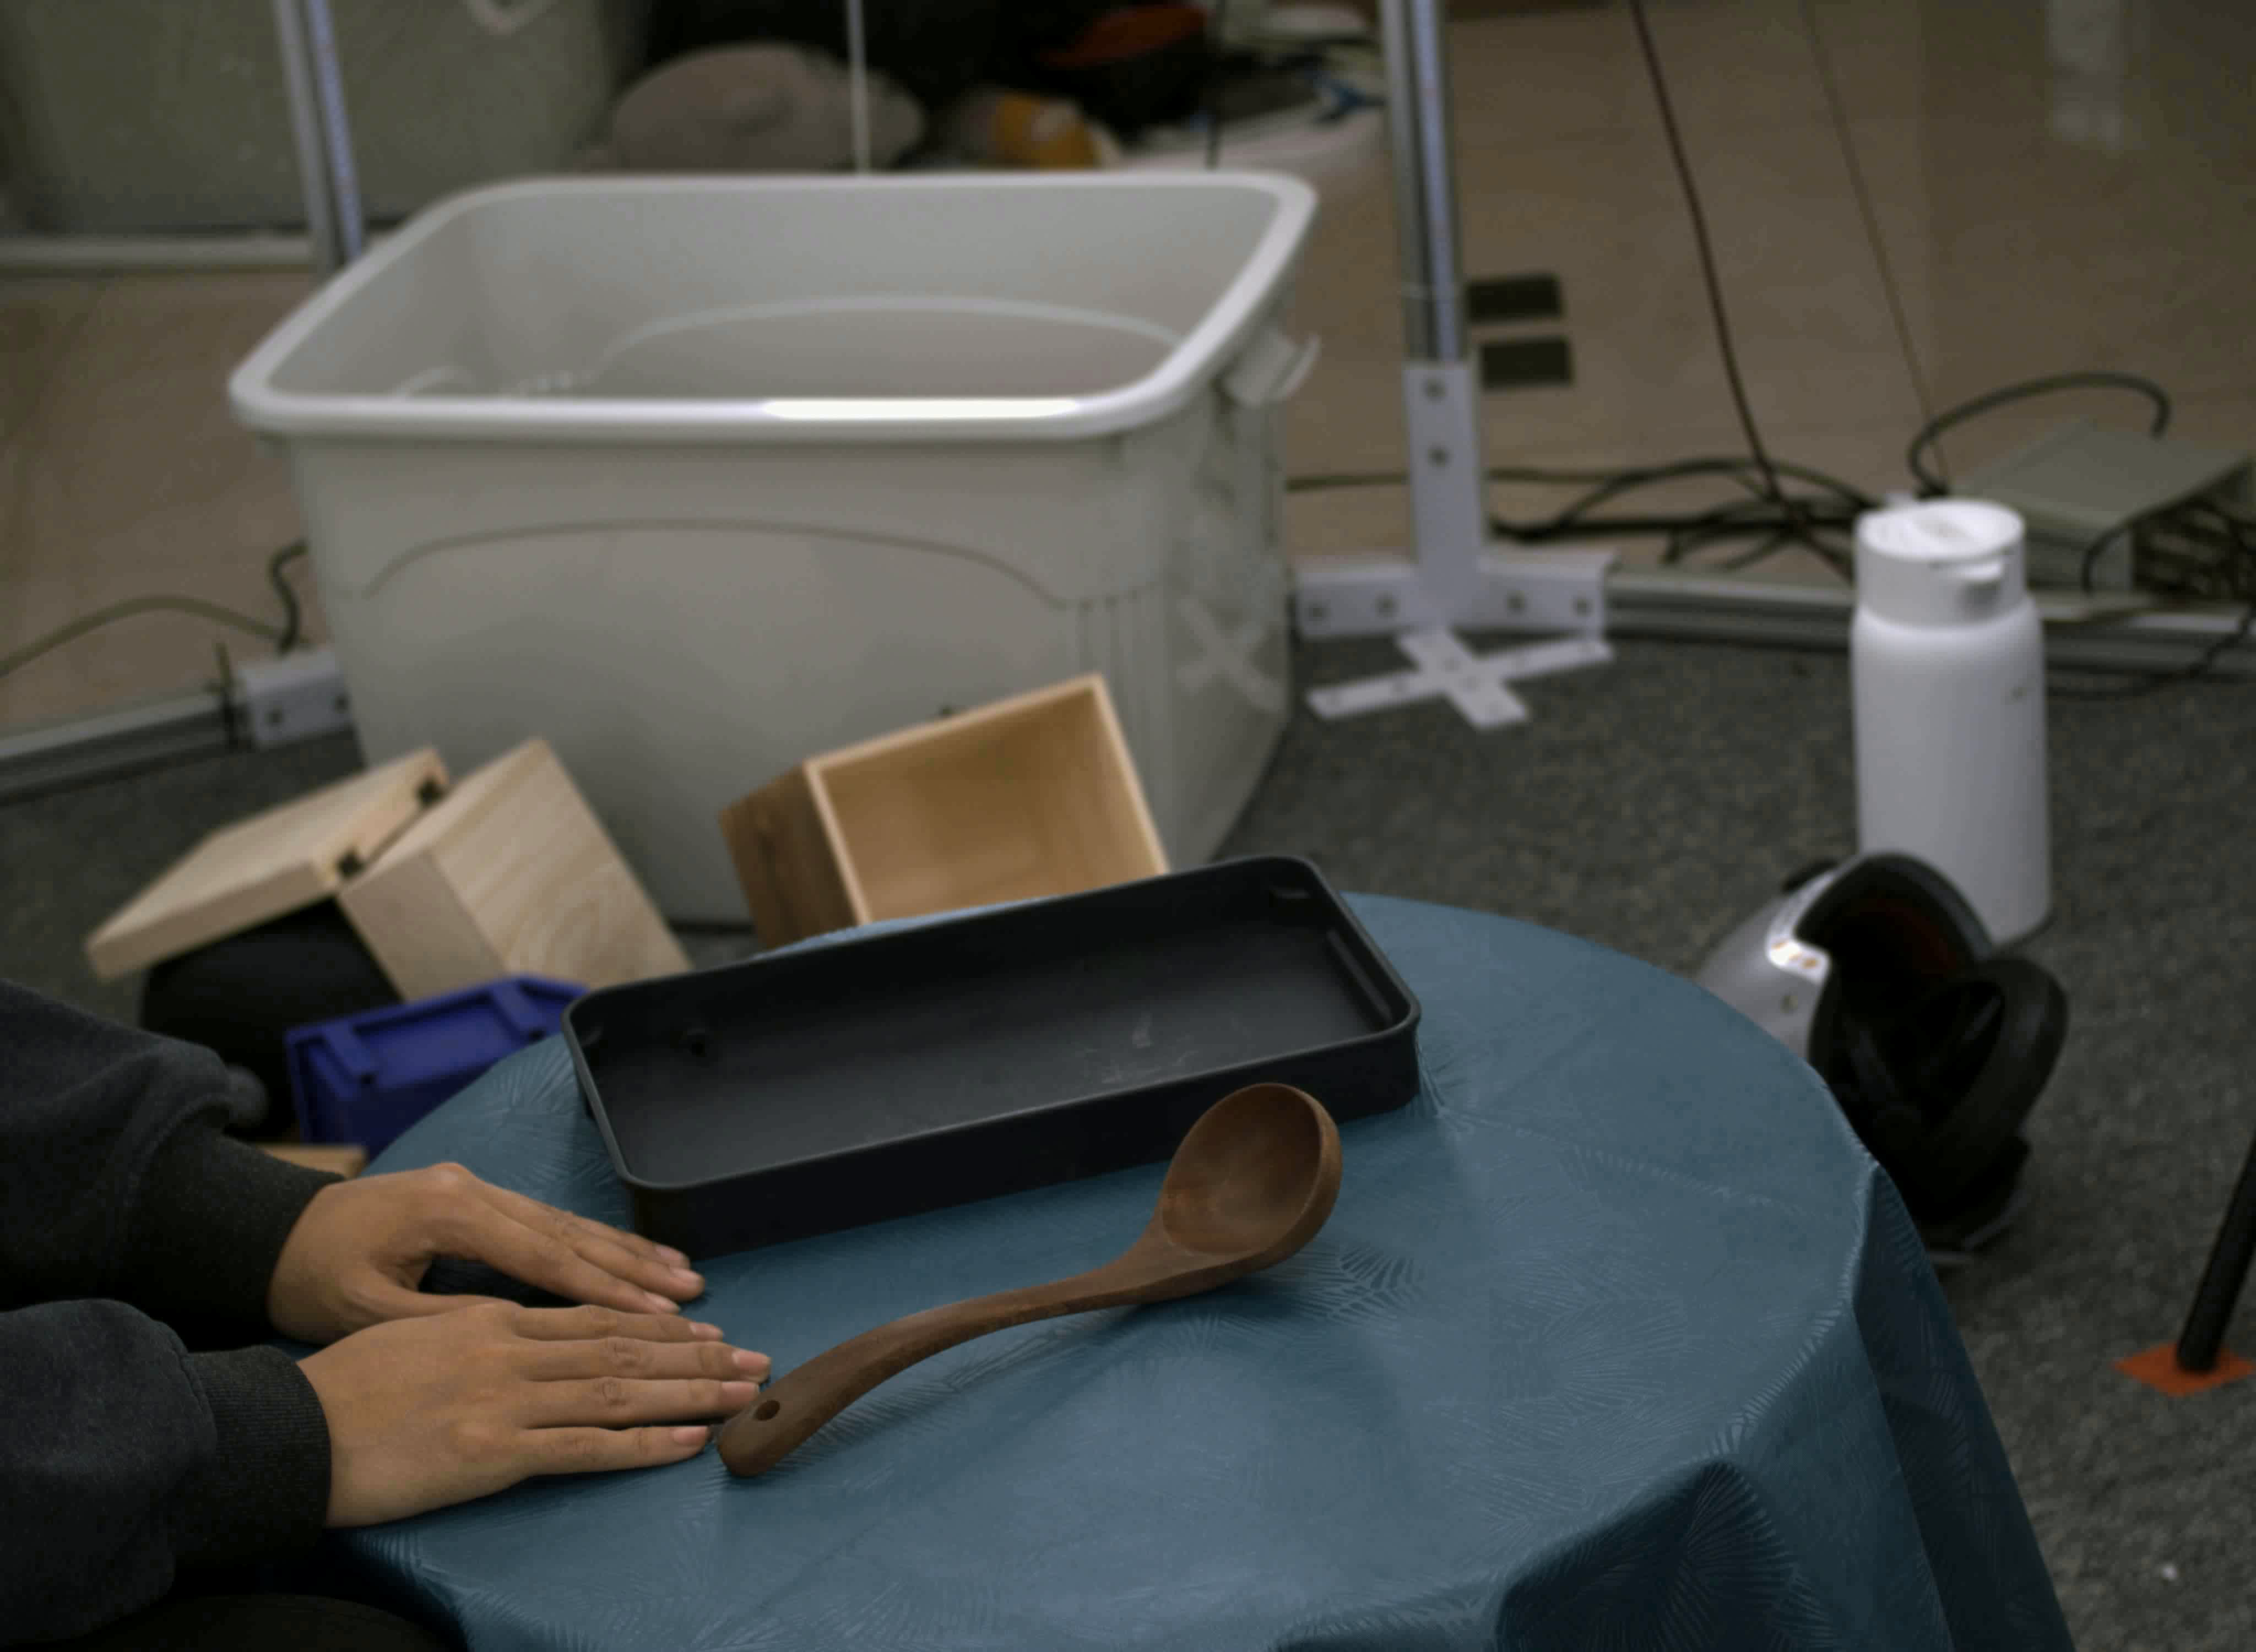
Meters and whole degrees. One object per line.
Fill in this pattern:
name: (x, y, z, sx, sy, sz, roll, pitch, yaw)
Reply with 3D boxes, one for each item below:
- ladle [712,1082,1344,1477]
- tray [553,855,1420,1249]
ladle: (-0.037, 0.161, 2.032, 0.259, 0.066, 0.075, -20, 30, -26)
tray: (-0.057, 0.086, 2.225, 0.317, 0.037, 0.182, -10, 25, -11)
